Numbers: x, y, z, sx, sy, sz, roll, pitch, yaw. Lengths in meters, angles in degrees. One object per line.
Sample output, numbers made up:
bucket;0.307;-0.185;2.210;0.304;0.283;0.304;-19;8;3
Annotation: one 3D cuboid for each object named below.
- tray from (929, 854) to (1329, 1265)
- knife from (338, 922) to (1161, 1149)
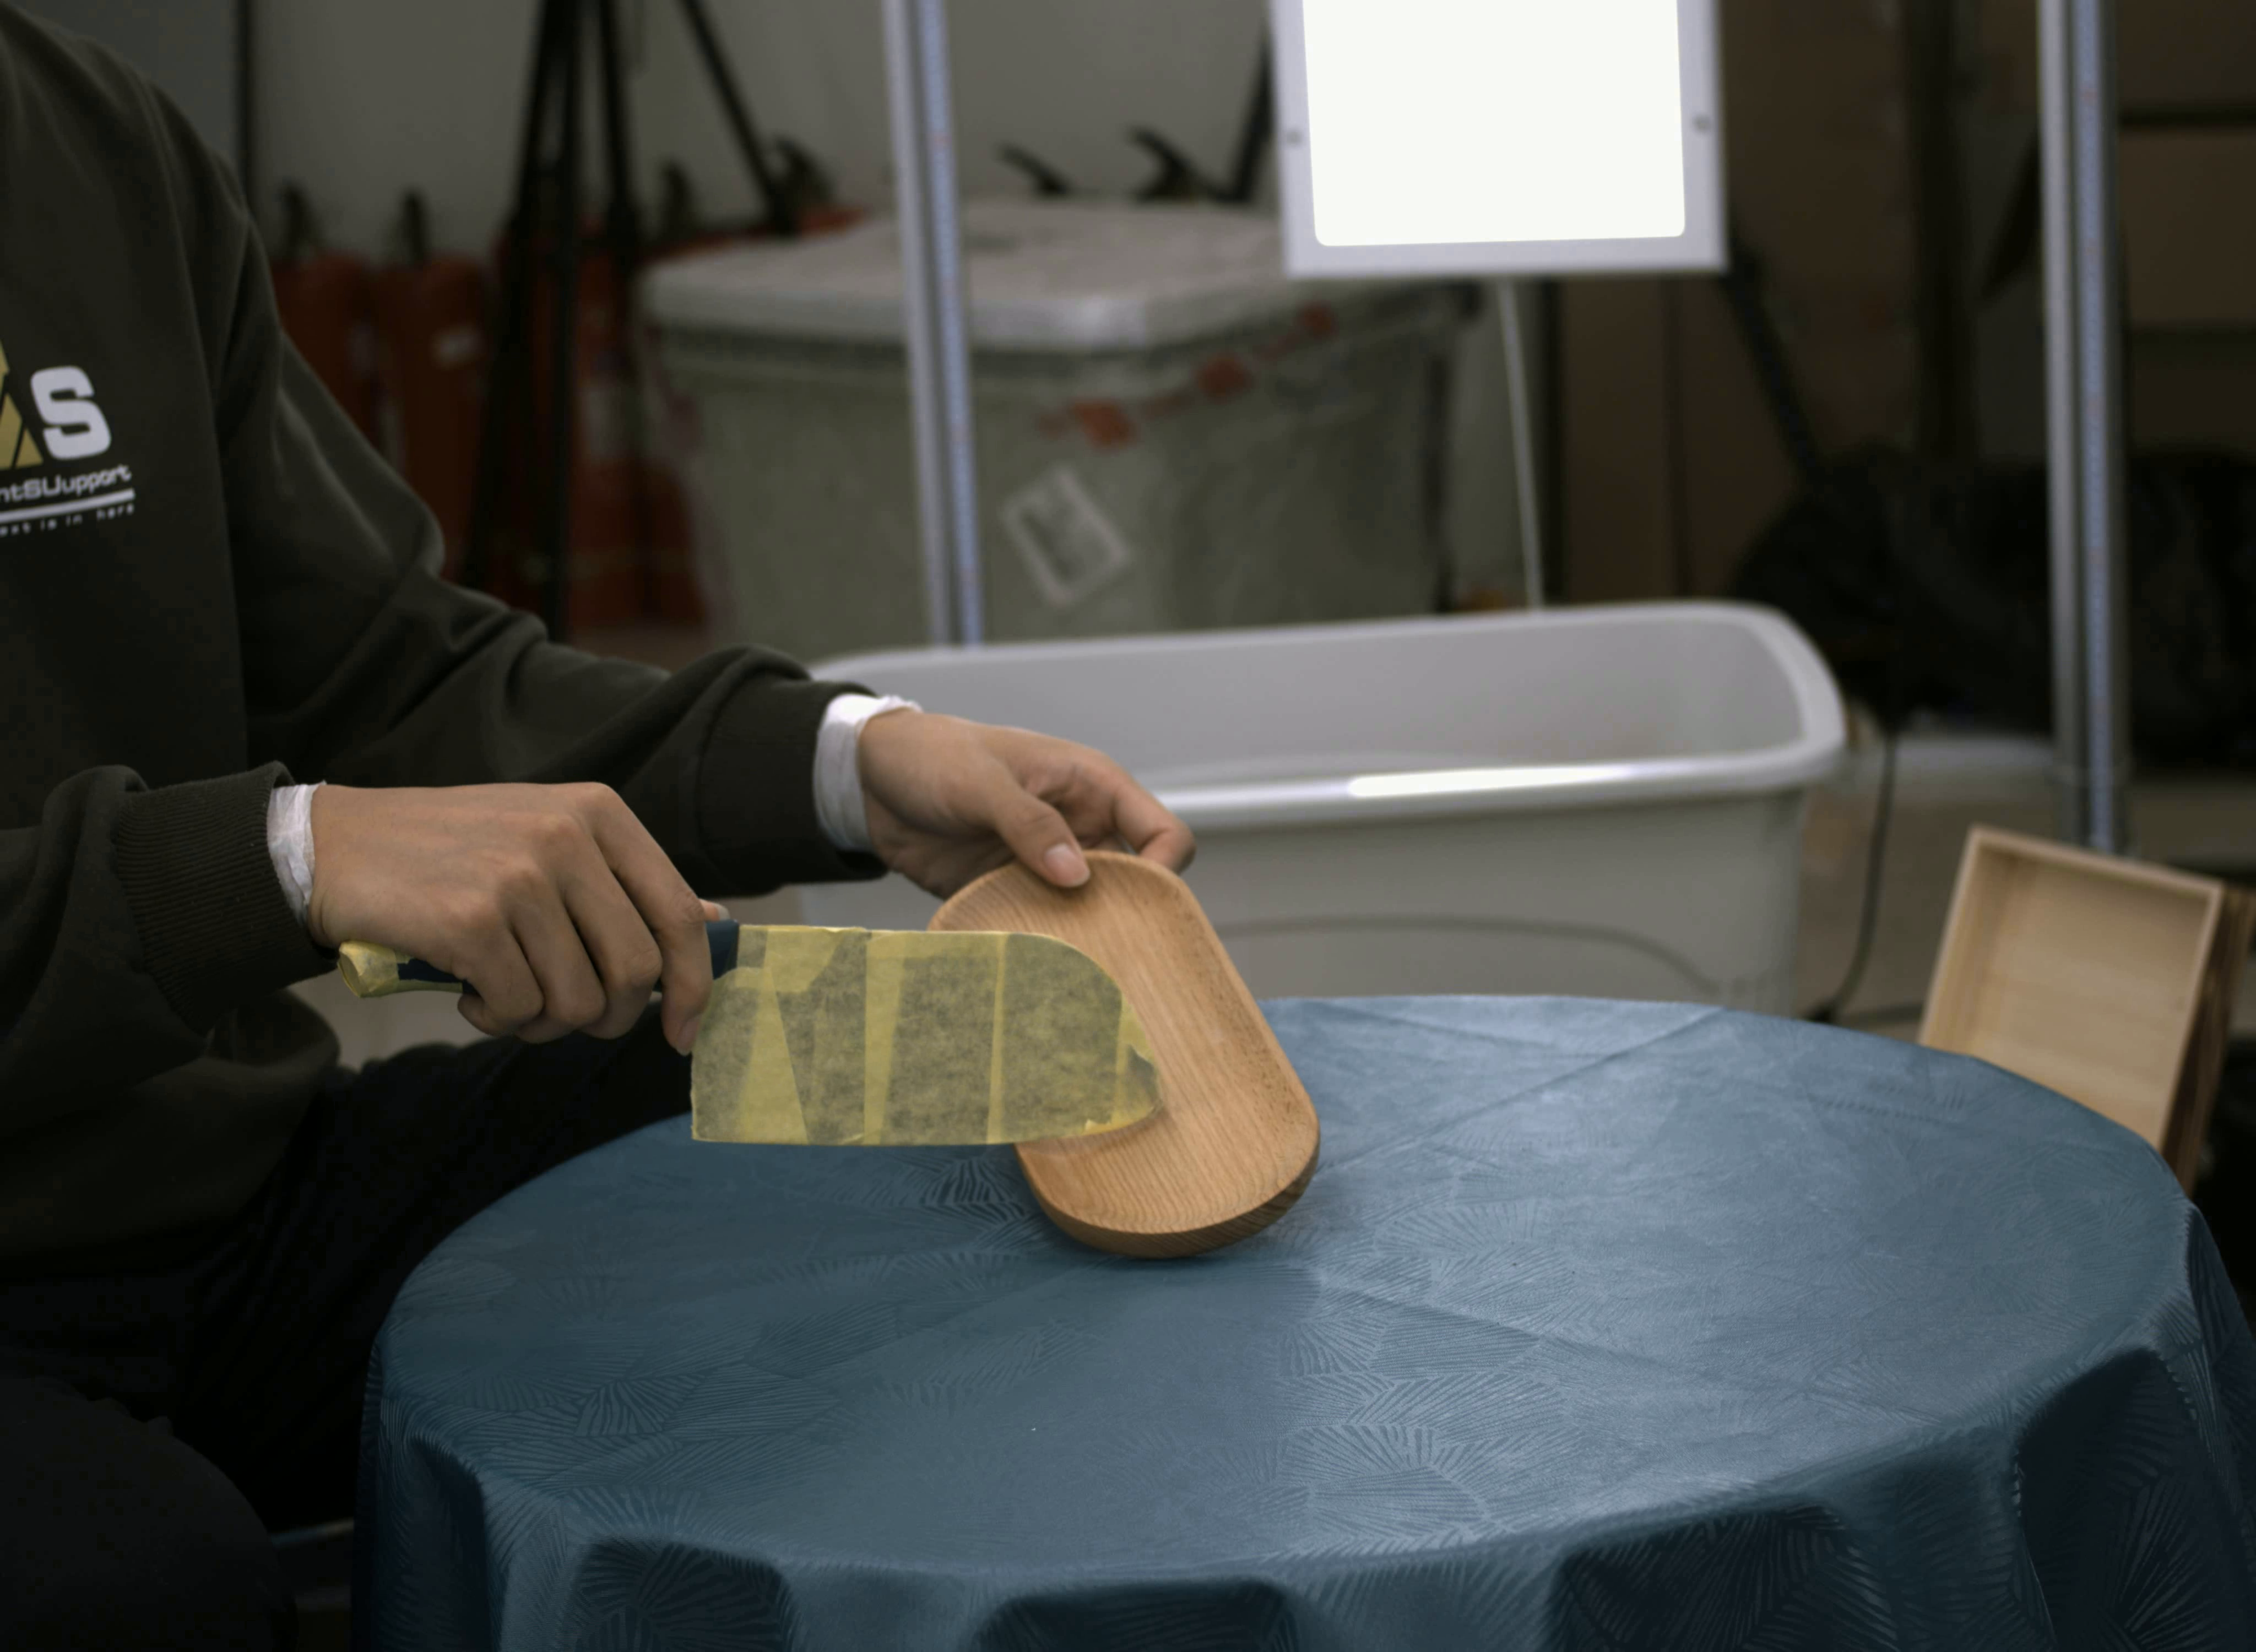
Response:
tray;-0.001;0.079;1.913;0.101;0.020;0.233;-18;37;-8
knife;-0.122;0.067;1.833;0.284;0.081;0.027;5;-1;-19
